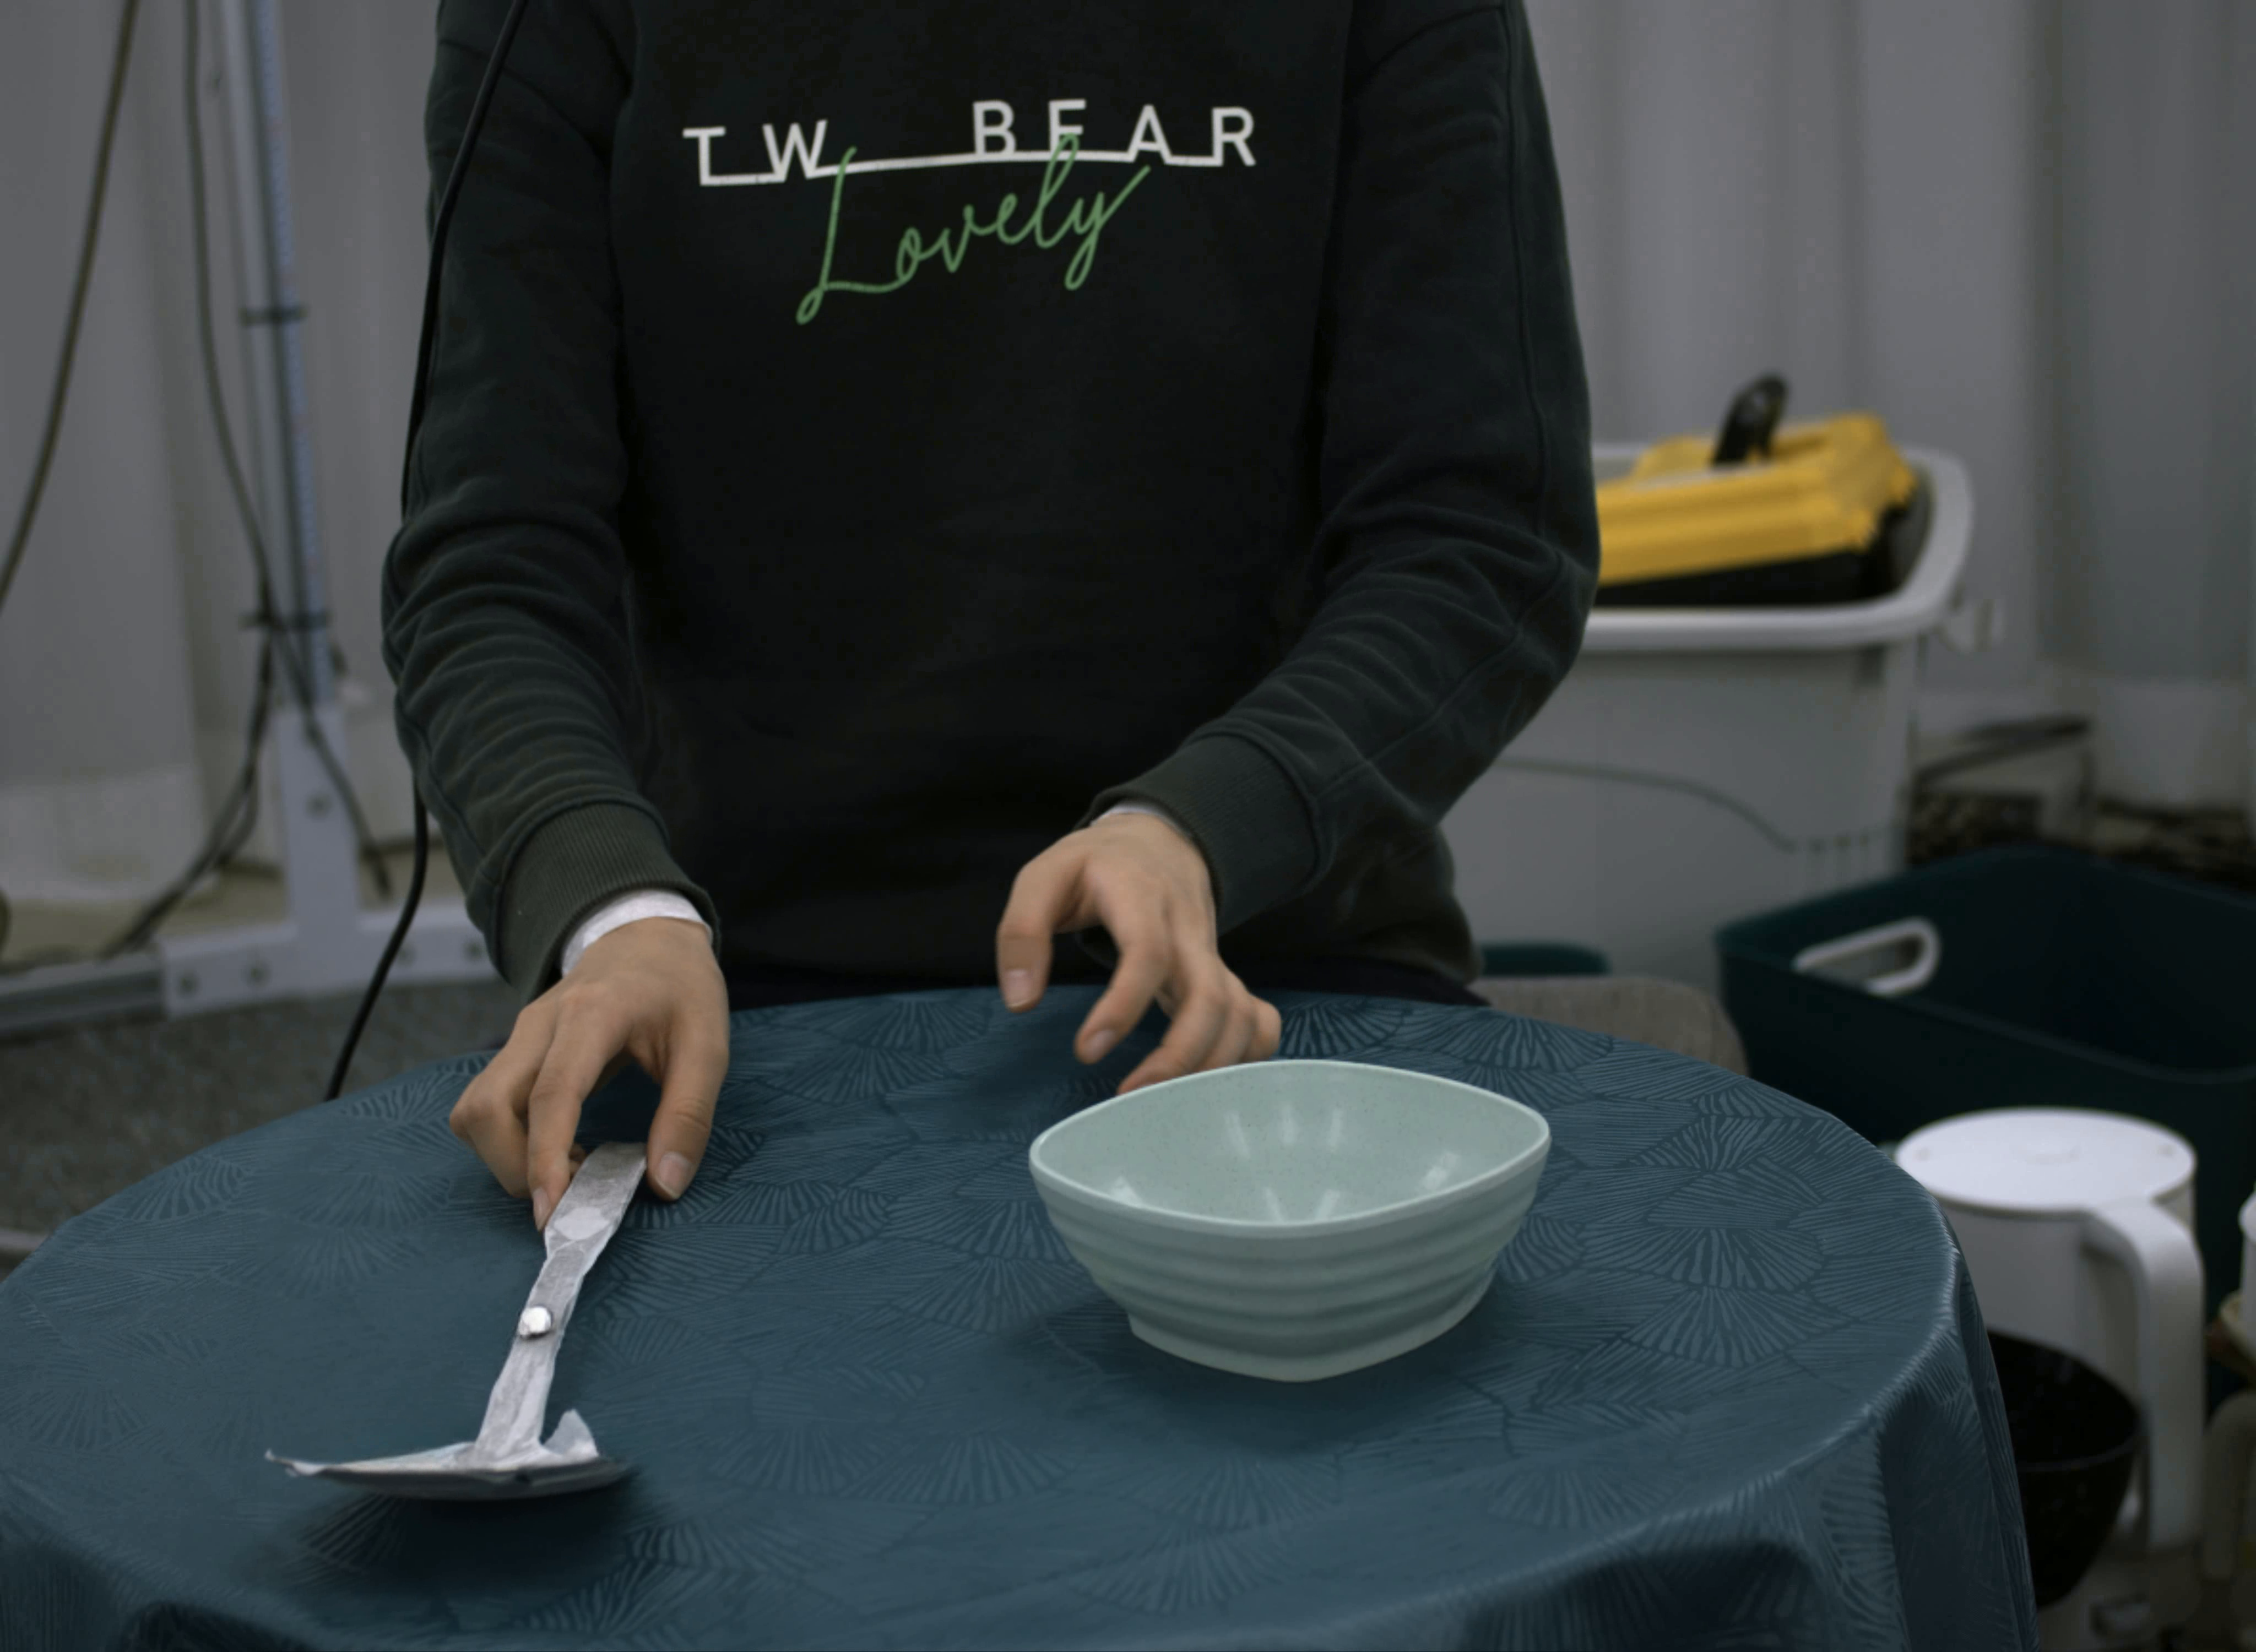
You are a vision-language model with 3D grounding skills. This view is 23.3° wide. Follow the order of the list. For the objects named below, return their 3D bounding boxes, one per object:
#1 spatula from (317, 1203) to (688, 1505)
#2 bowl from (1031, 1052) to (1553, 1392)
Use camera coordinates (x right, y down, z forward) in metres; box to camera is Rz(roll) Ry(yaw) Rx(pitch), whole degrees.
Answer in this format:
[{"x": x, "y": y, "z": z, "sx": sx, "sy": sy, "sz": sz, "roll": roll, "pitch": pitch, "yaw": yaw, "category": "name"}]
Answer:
[{"x": -0.178, "y": 0.141, "z": 1.574, "sx": 0.098, "sy": 0.045, "sz": 0.367, "roll": 12, "pitch": 10, "yaw": -7, "category": "spatula"}, {"x": 0.048, "y": 0.118, "z": 1.585, "sx": 0.151, "sy": 0.058, "sz": 0.152, "roll": -2, "pitch": 17, "yaw": 0, "category": "bowl"}]
